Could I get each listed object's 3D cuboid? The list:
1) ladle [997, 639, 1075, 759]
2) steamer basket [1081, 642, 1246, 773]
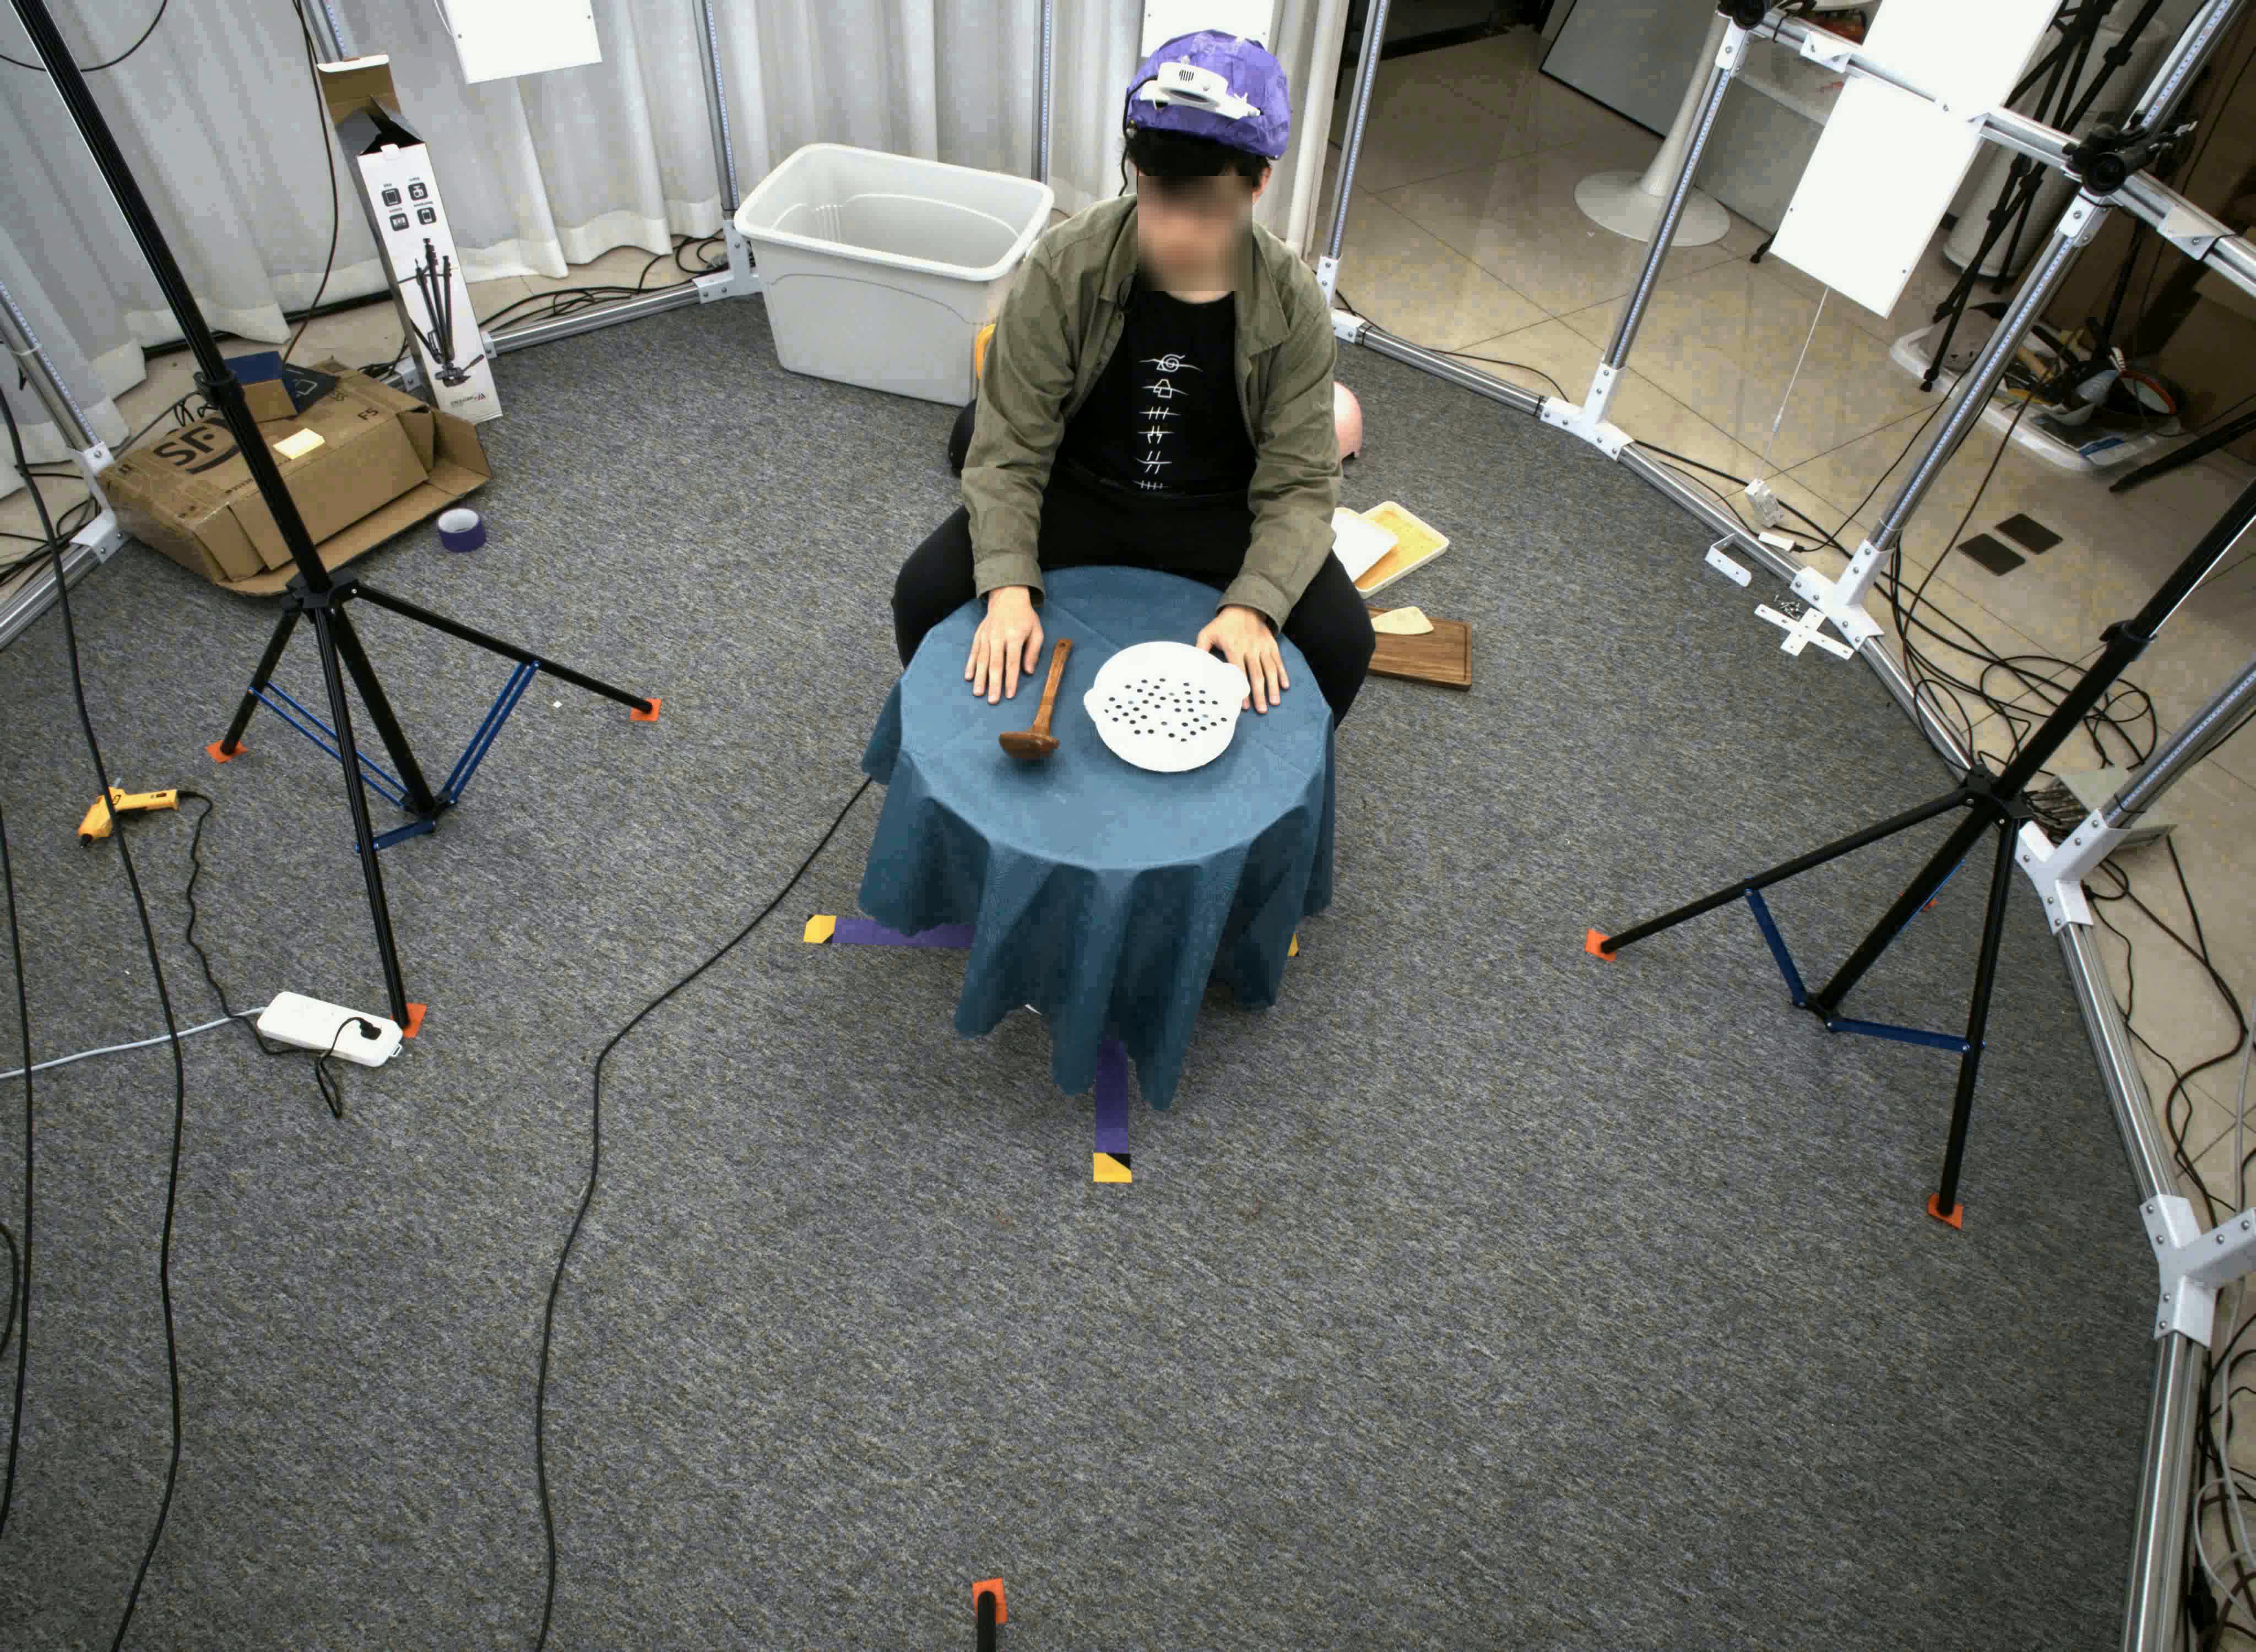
[{"bbox_3d":[-0.115,-0.191,1.766,0.082,0.075,0.280,7,48,6],"label":"ladle"},{"bbox_3d":[0.047,-0.161,1.760,0.230,0.067,0.207,-11,51,-17],"label":"steamer basket"}]
